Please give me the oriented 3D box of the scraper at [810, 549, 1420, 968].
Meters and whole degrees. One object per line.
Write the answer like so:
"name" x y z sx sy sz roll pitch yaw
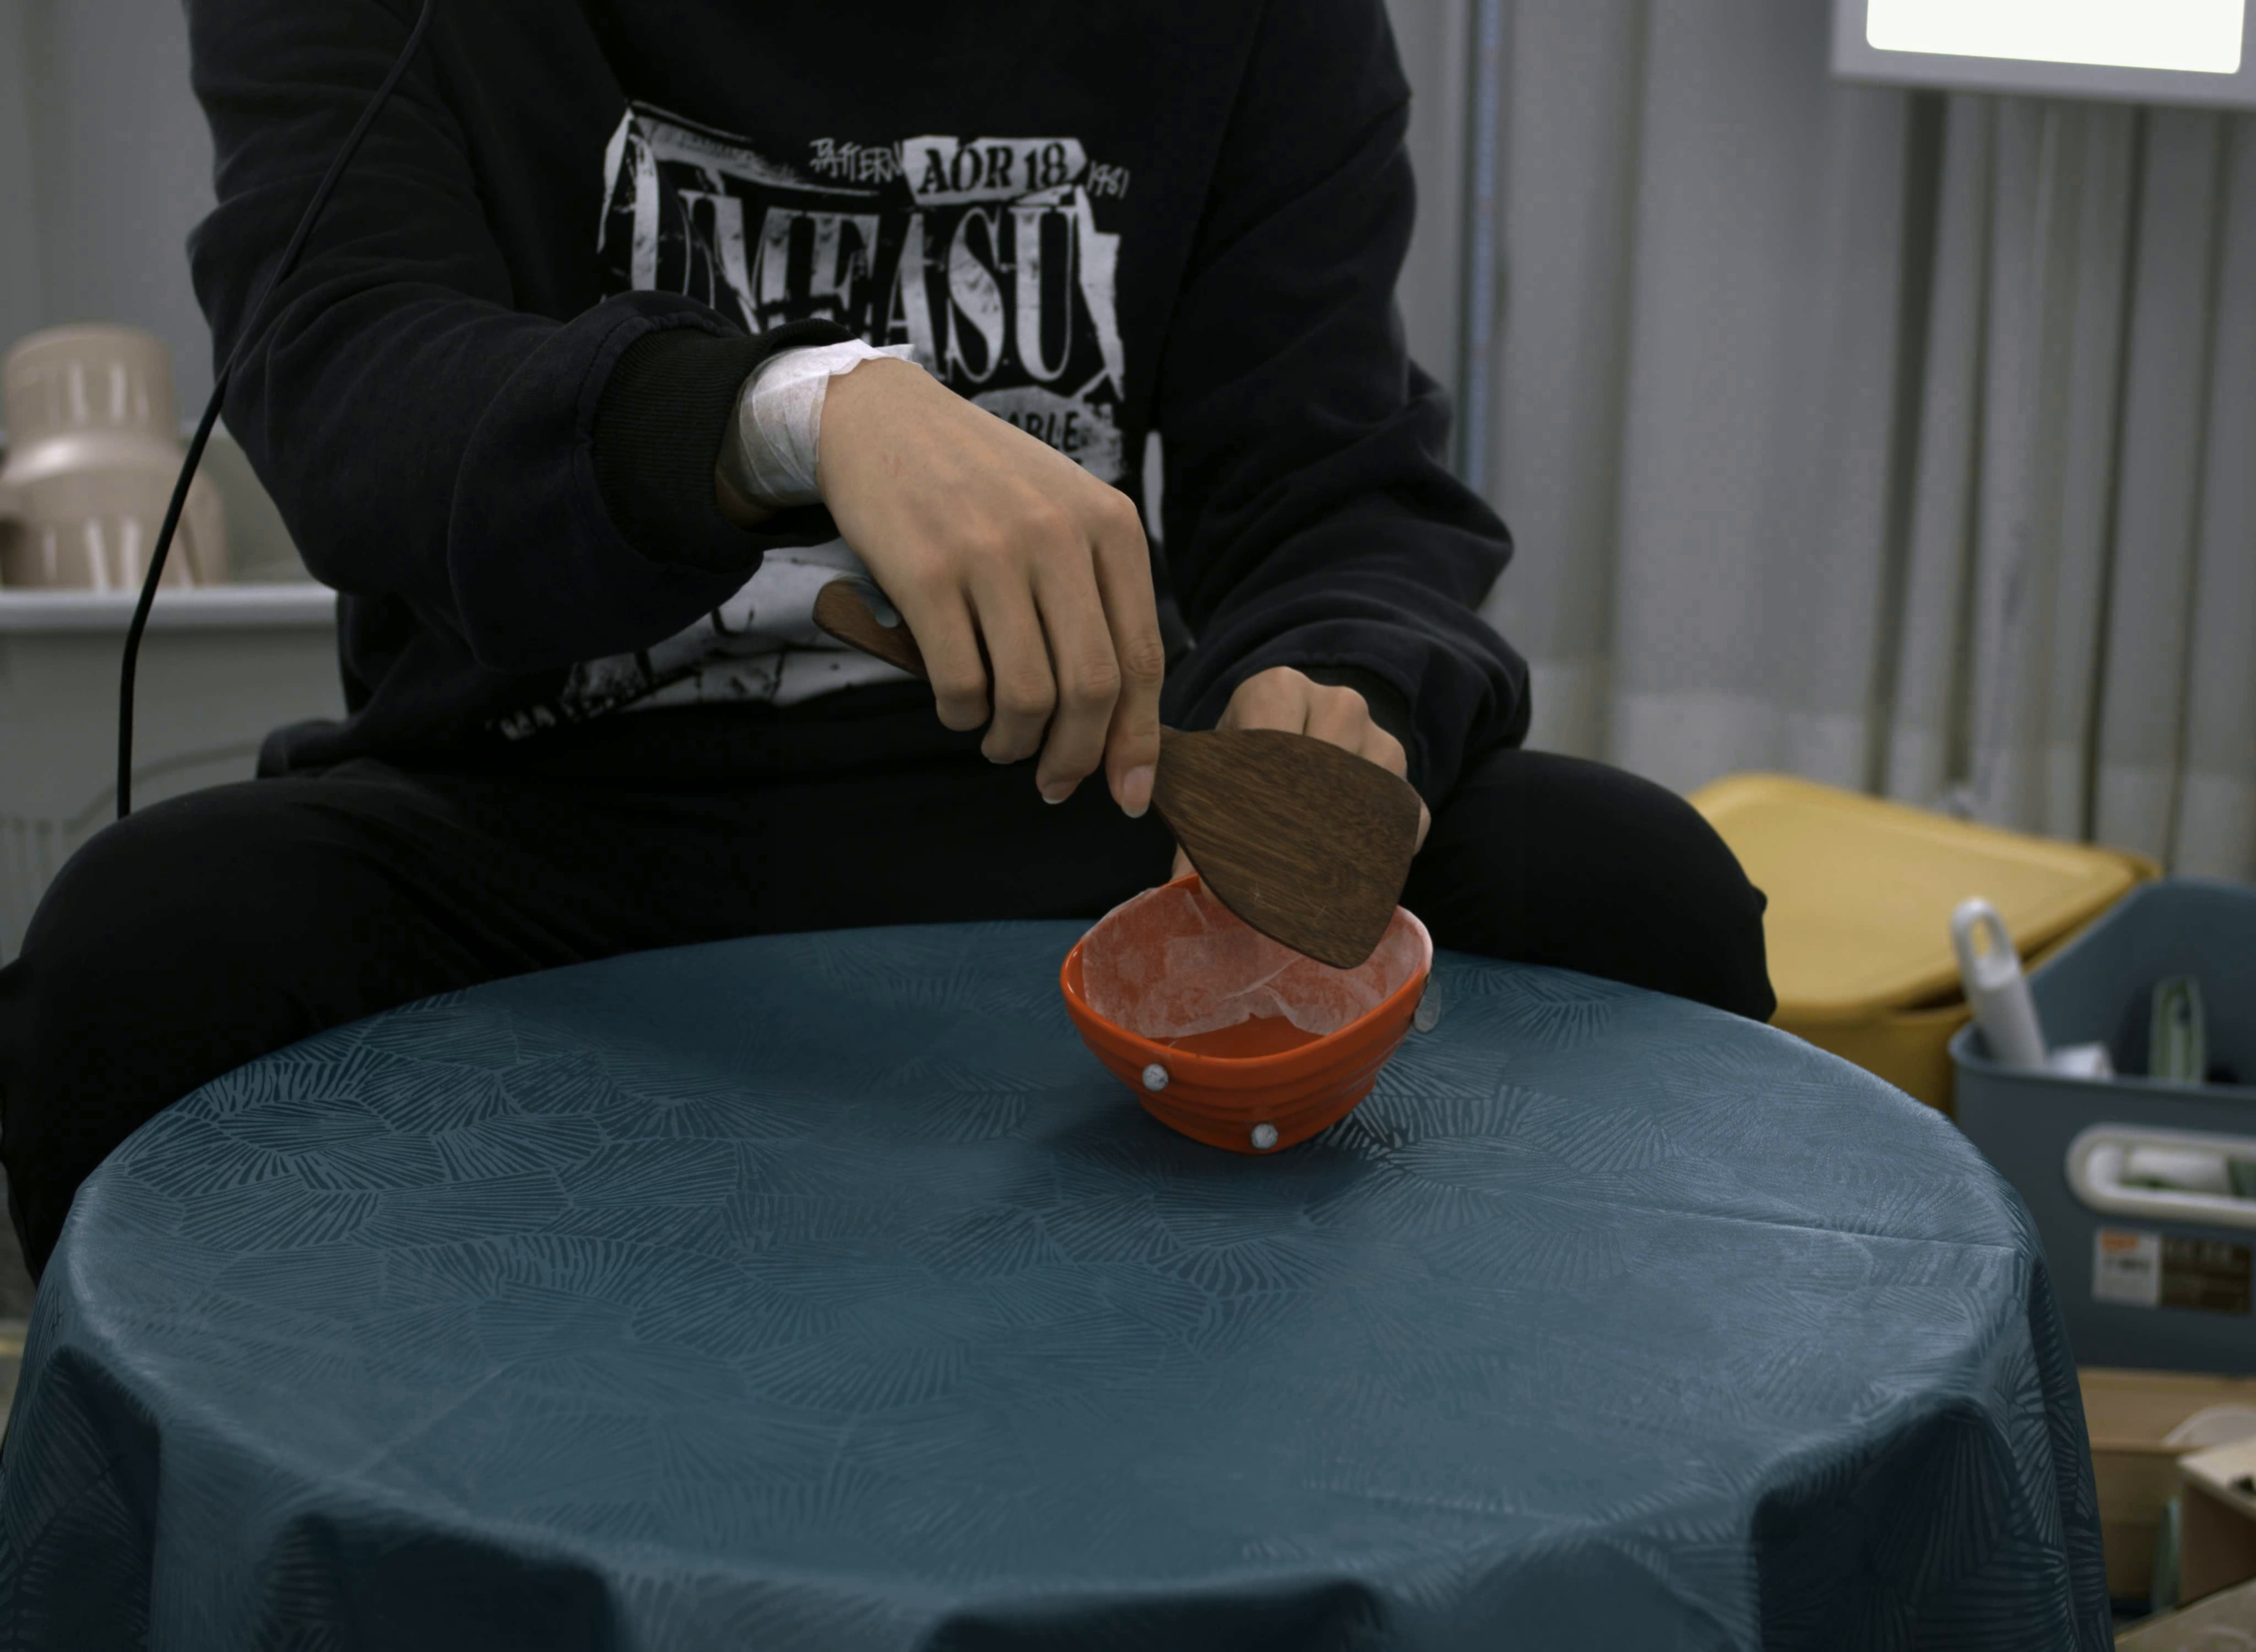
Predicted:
"scraper" -0.005 -0.029 1.657 0.212 0.075 0.011 28 -26 -13

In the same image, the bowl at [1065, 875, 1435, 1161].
"bowl" 0.041 0.064 1.681 0.118 0.052 0.118 -6 32 4
